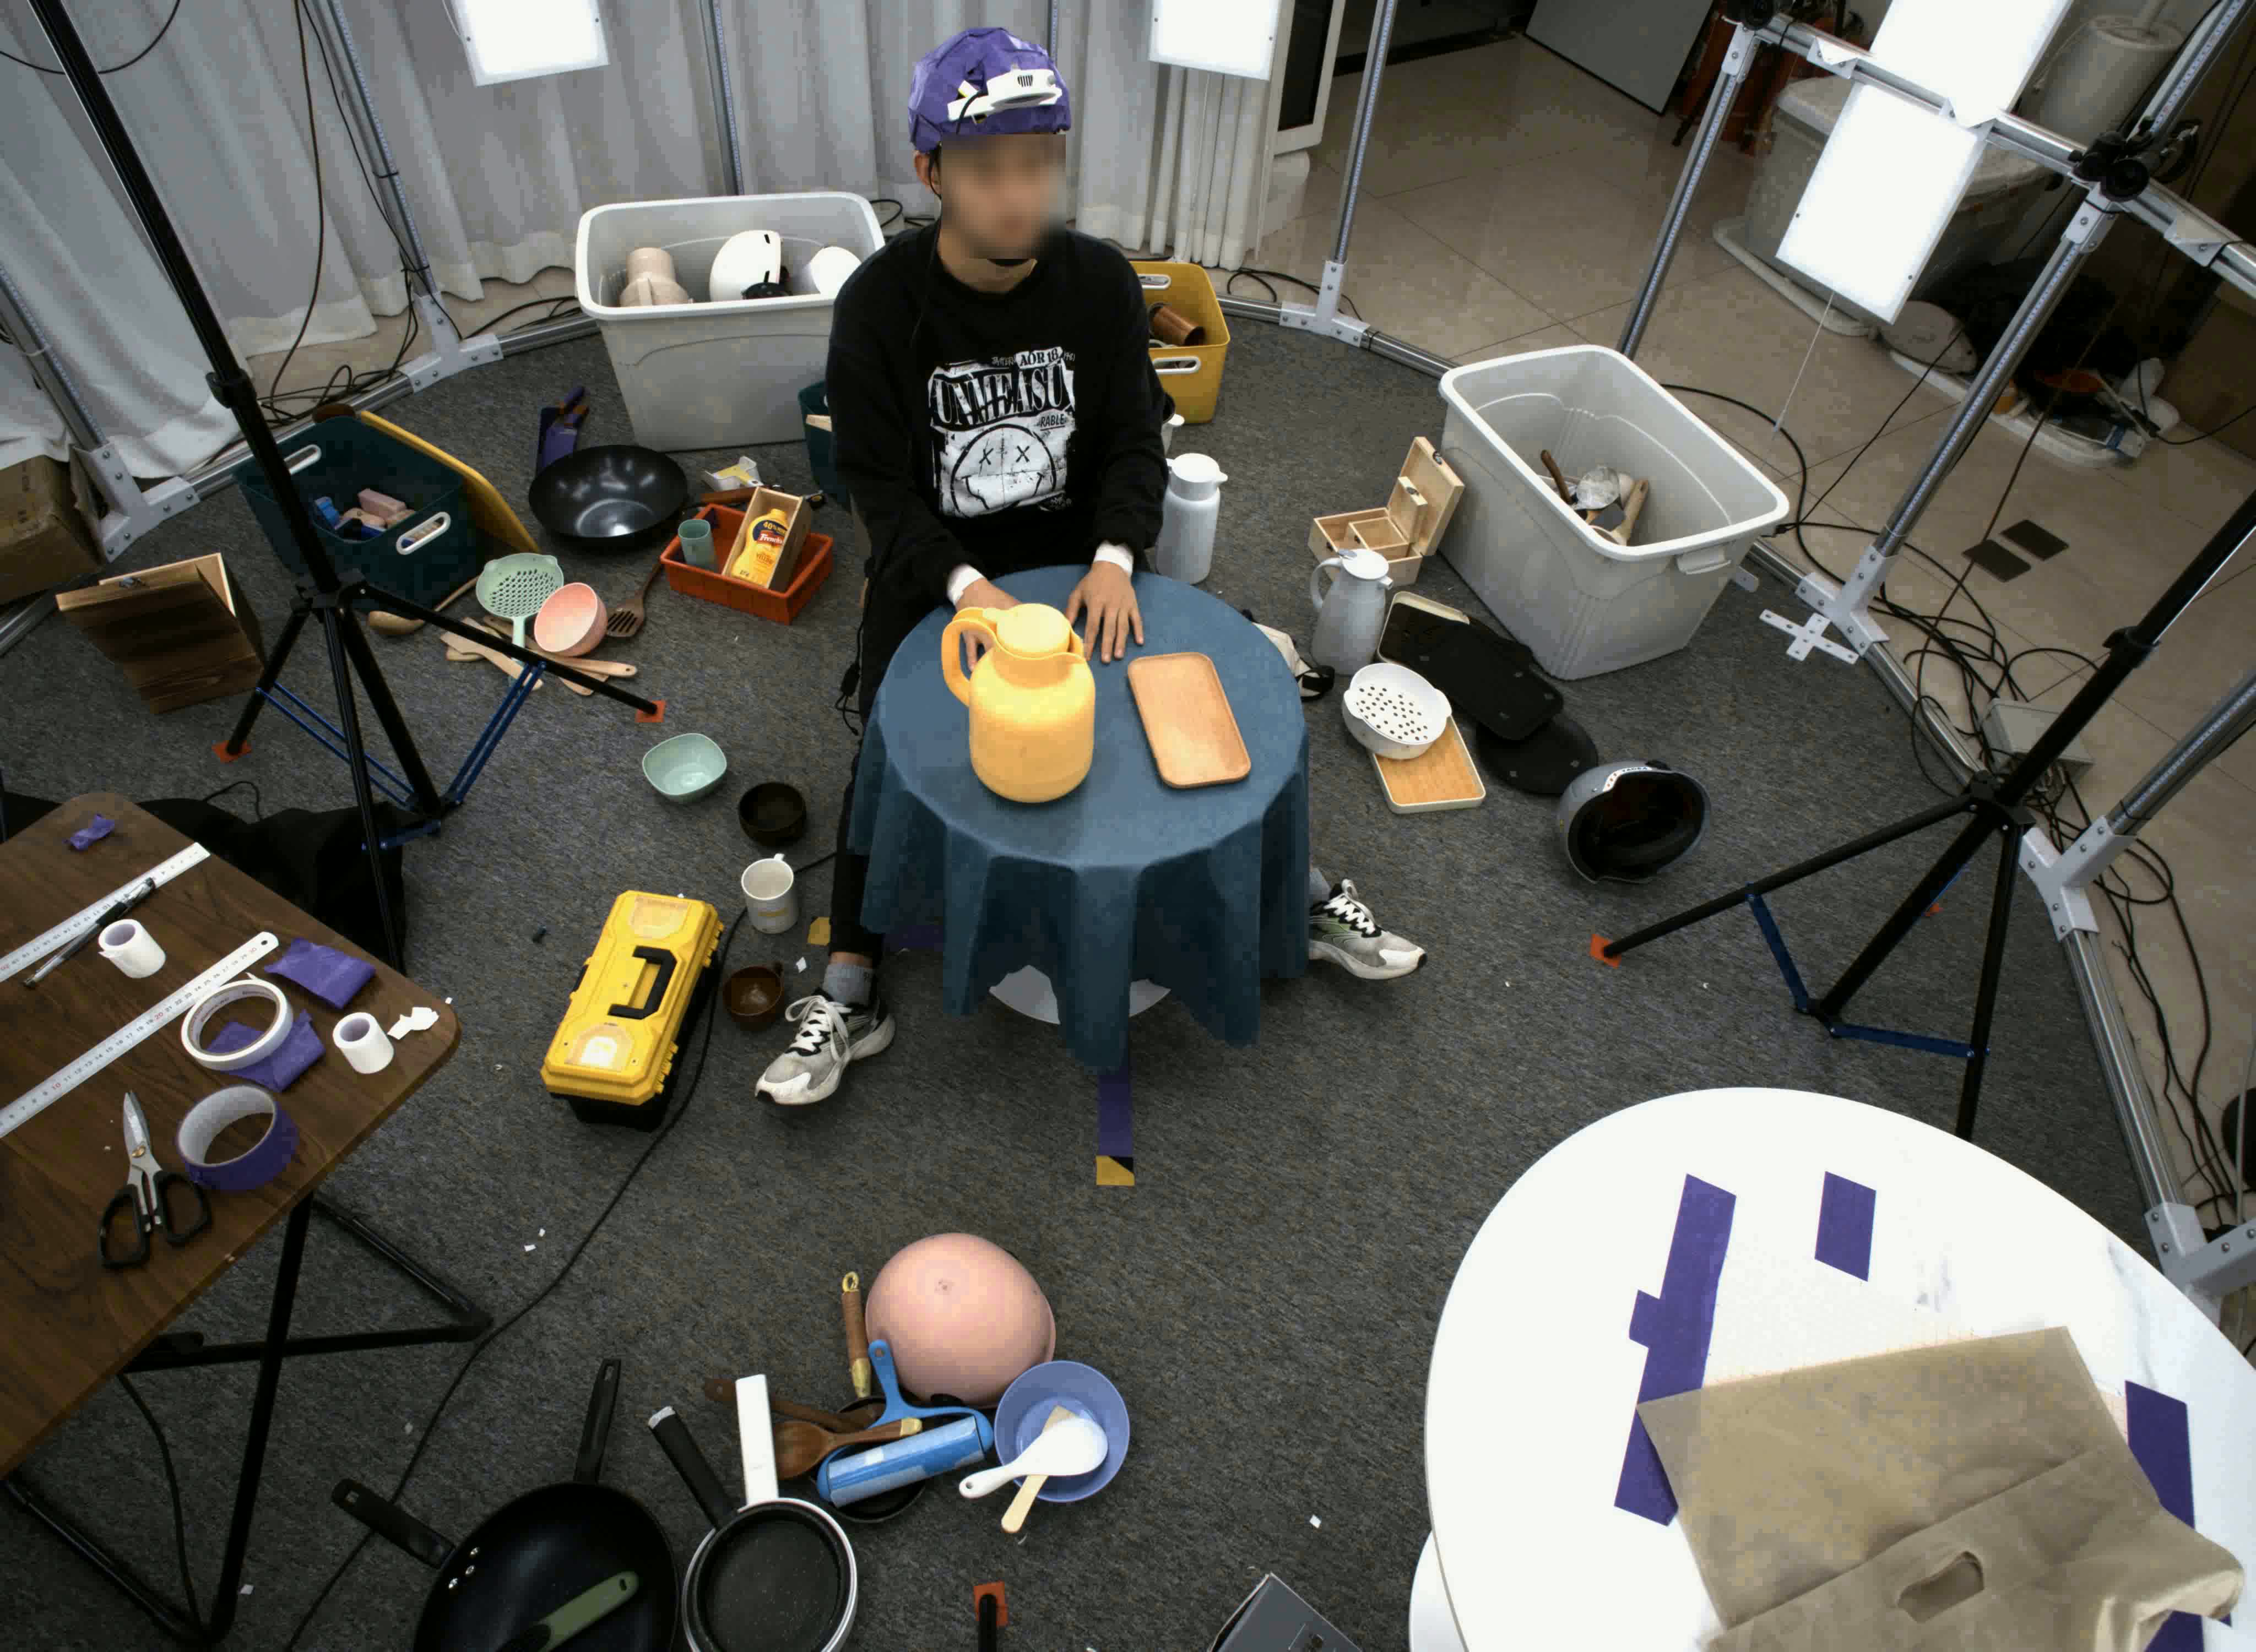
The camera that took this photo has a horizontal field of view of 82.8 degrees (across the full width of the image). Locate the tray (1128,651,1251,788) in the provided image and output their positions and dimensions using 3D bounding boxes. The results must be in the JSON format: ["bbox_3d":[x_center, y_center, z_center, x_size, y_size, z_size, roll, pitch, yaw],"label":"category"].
[{"bbox_3d":[0.083,-0.152,1.795,0.130,0.022,0.257,-5,49,-11],"label":"tray"}]

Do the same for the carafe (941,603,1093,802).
[{"bbox_3d":[-0.143,-0.170,1.638,0.203,0.254,0.166,23,49,13],"label":"carafe"}]
